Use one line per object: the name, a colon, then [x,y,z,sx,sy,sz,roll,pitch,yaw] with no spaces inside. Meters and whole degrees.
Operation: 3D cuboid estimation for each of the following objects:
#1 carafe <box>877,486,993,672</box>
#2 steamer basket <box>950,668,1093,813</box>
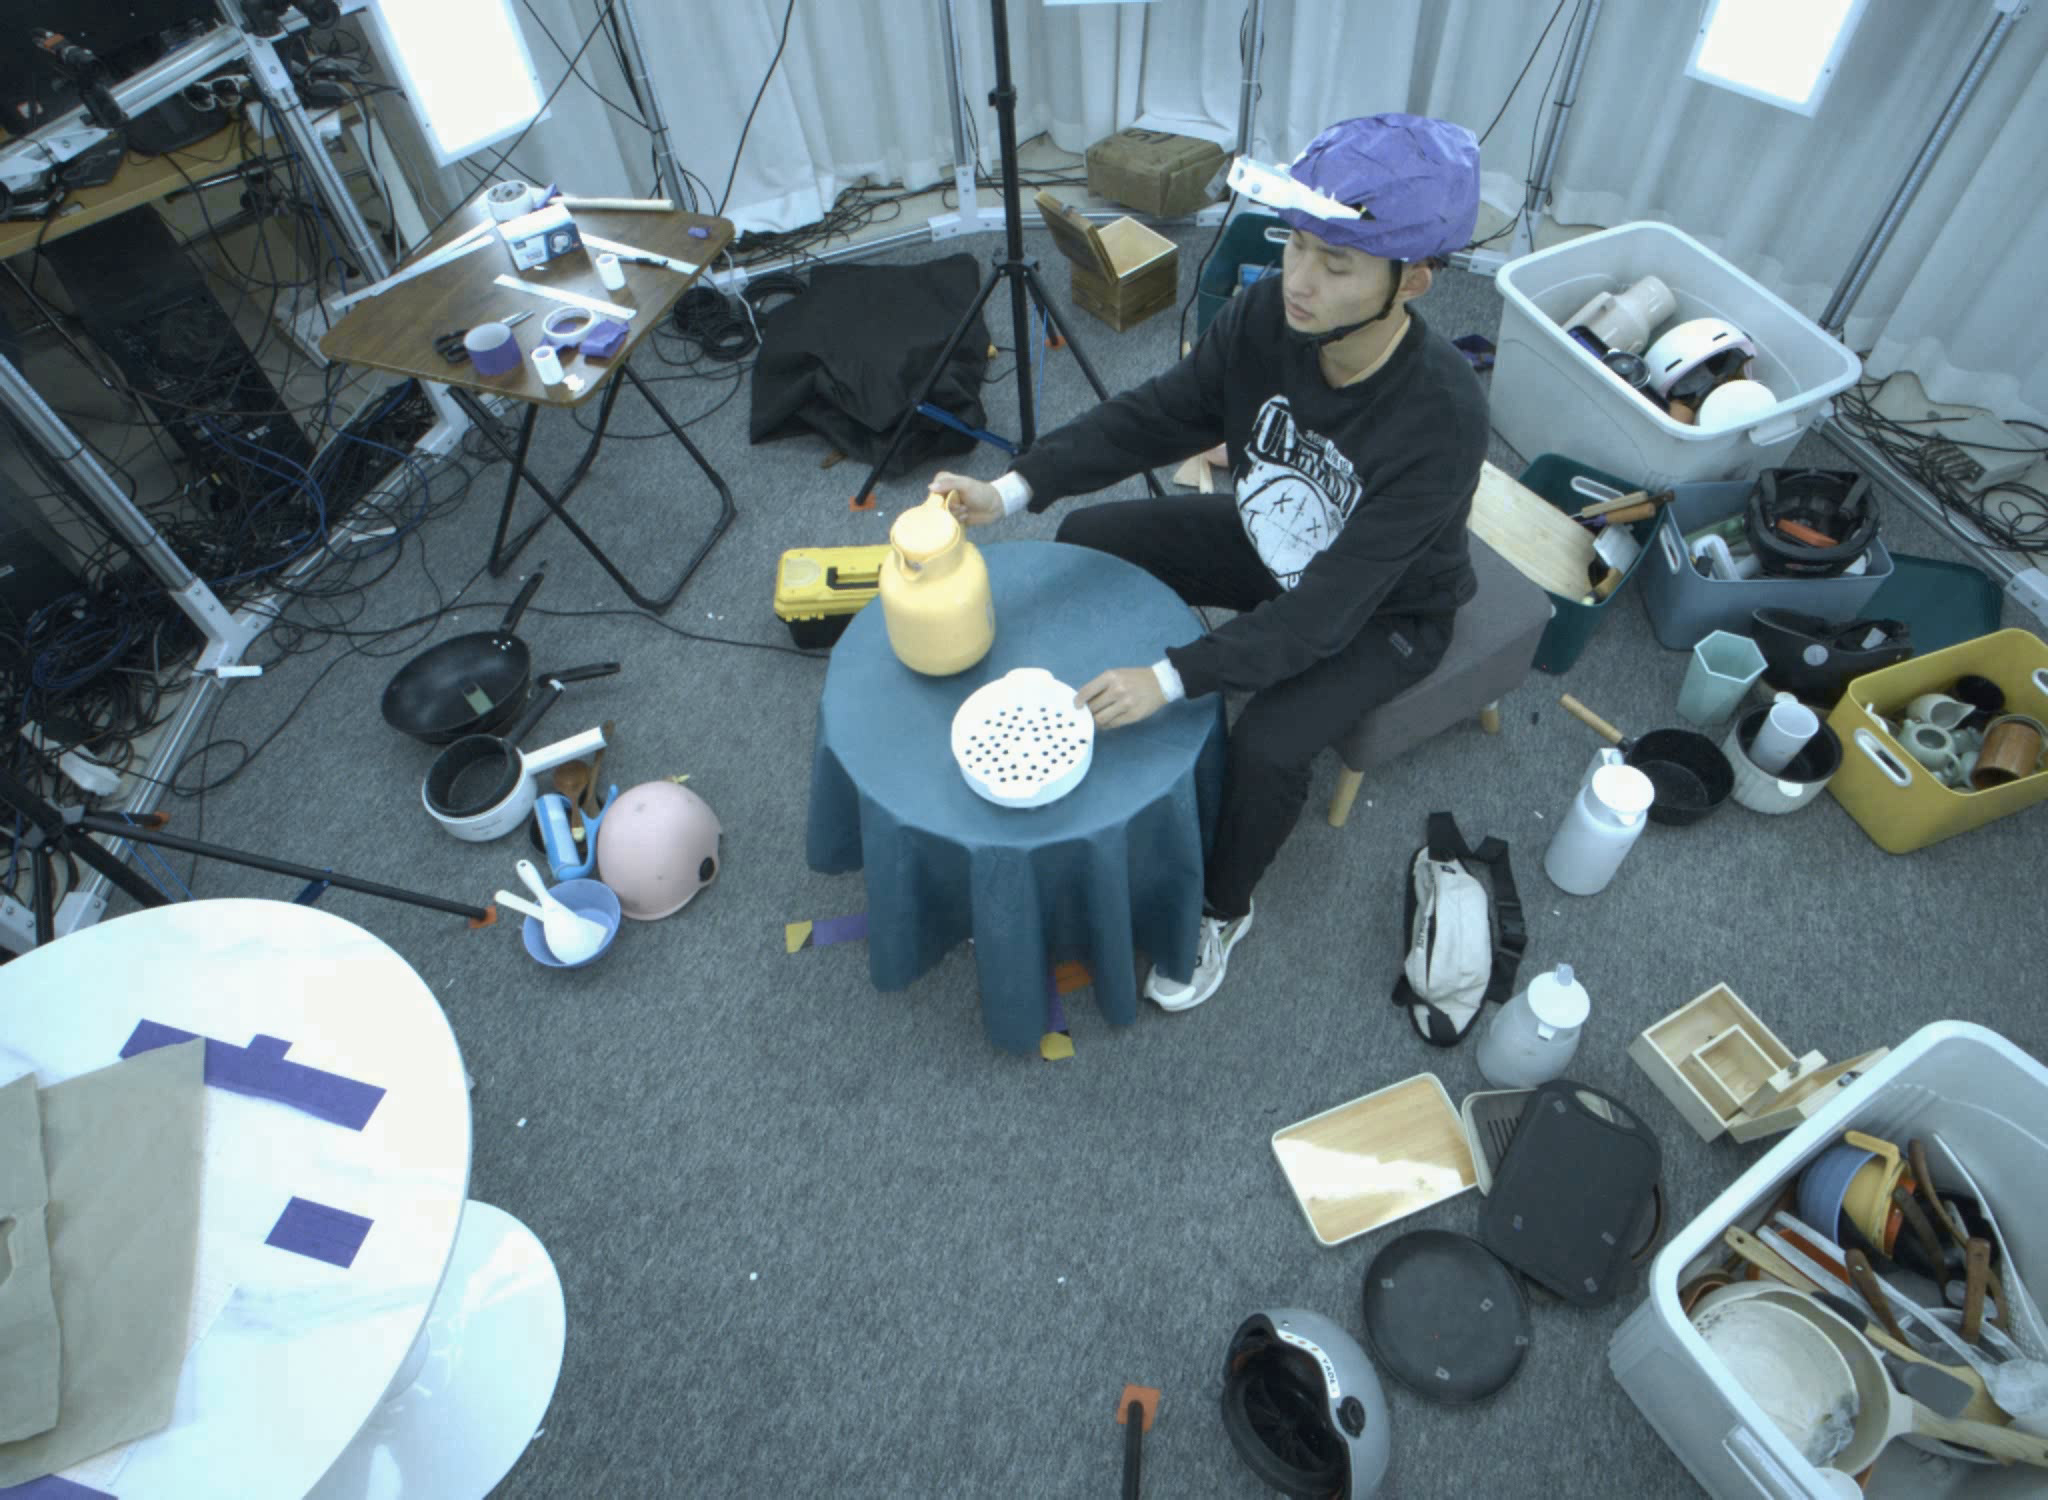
carafe: [-0.126,-0.256,1.791,0.162,0.263,0.201,13,61,9]
steamer basket: [-0.001,-0.008,1.741,0.201,0.070,0.228,2,58,6]
